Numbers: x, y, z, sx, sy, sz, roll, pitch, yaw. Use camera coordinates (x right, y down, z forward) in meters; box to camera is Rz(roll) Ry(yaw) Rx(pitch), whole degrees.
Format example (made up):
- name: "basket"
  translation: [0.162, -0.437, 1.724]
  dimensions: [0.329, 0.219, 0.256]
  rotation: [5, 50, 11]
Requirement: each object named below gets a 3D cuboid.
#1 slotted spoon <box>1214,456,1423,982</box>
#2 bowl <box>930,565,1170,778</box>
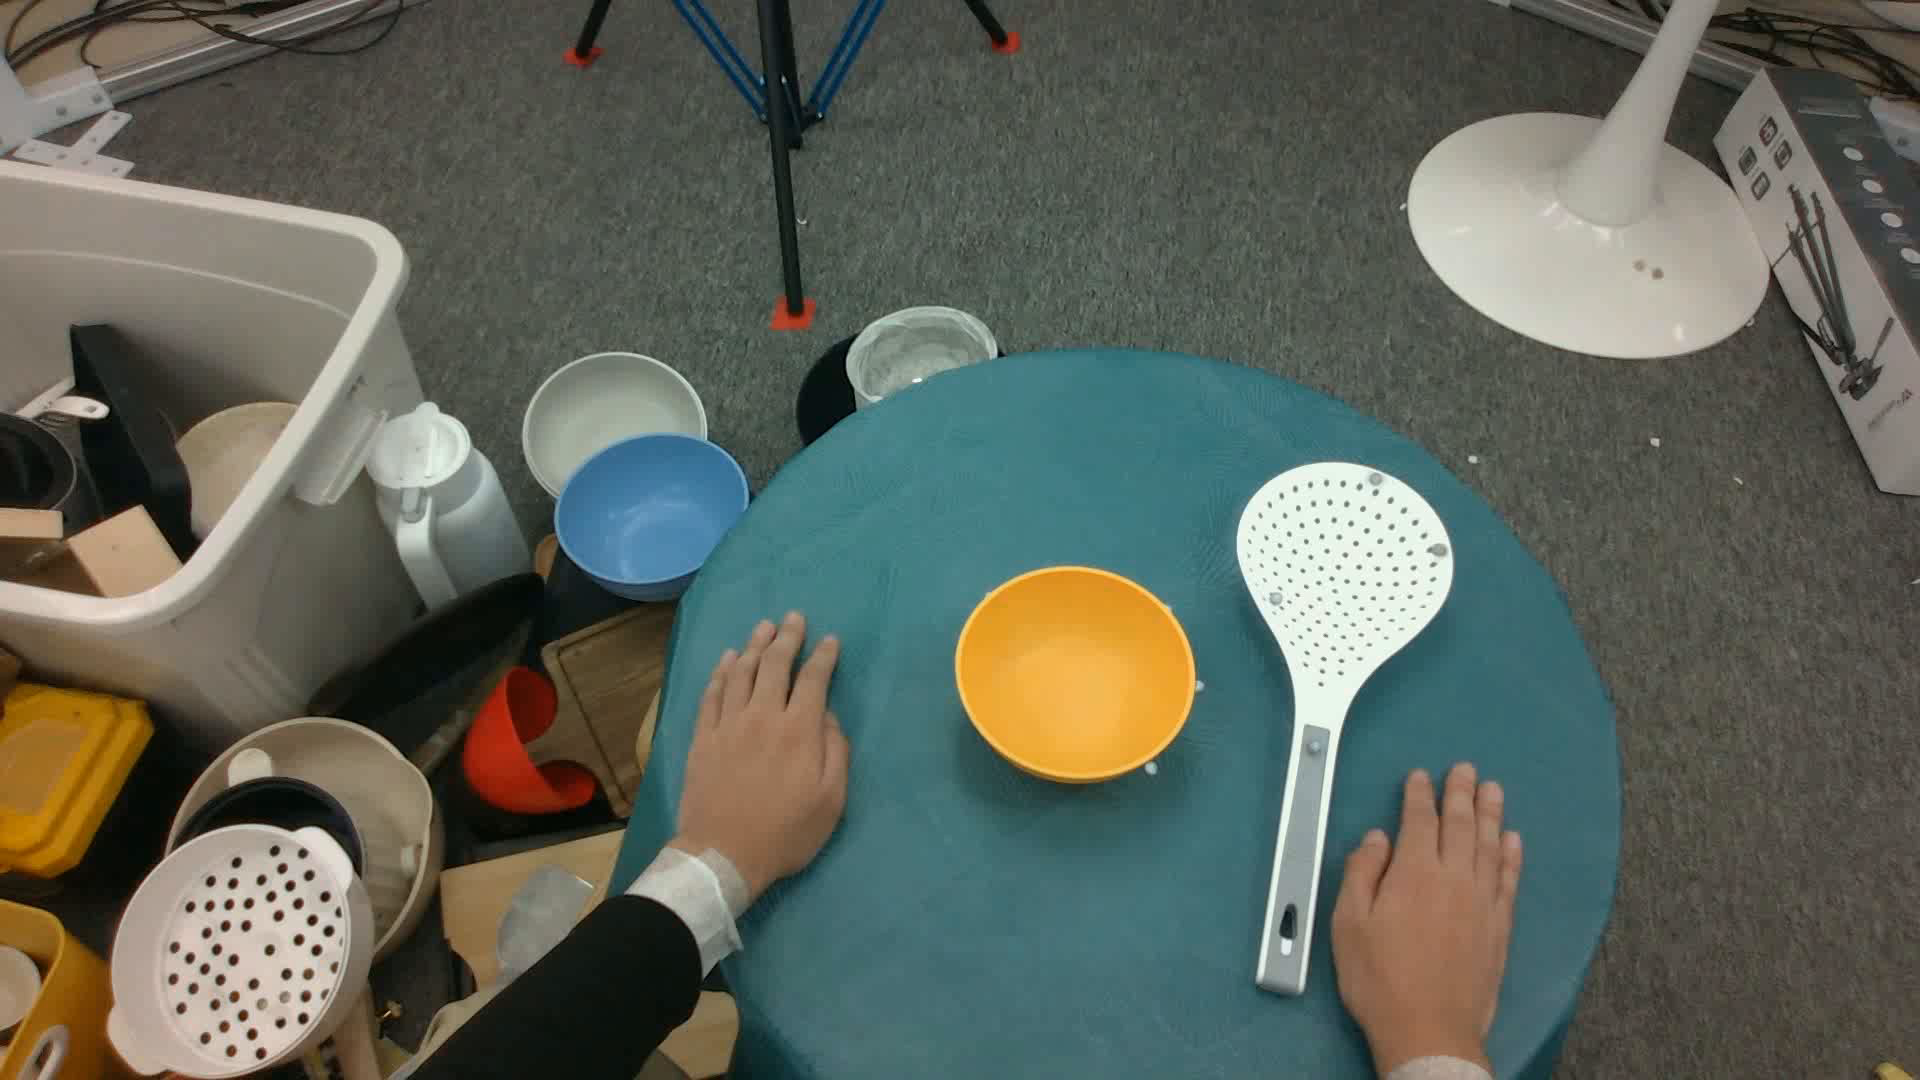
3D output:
- name: "slotted spoon"
  translation: [0.207, 0.097, 0.852]
  dimensions: [0.136, 0.045, 0.351]
  rotation: [12, 56, 7]
- name: "bowl"
  translation: [0.054, 0.090, 0.846]
  dimensions: [0.145, 0.060, 0.146]
  rotation: [0, 54, 0]
